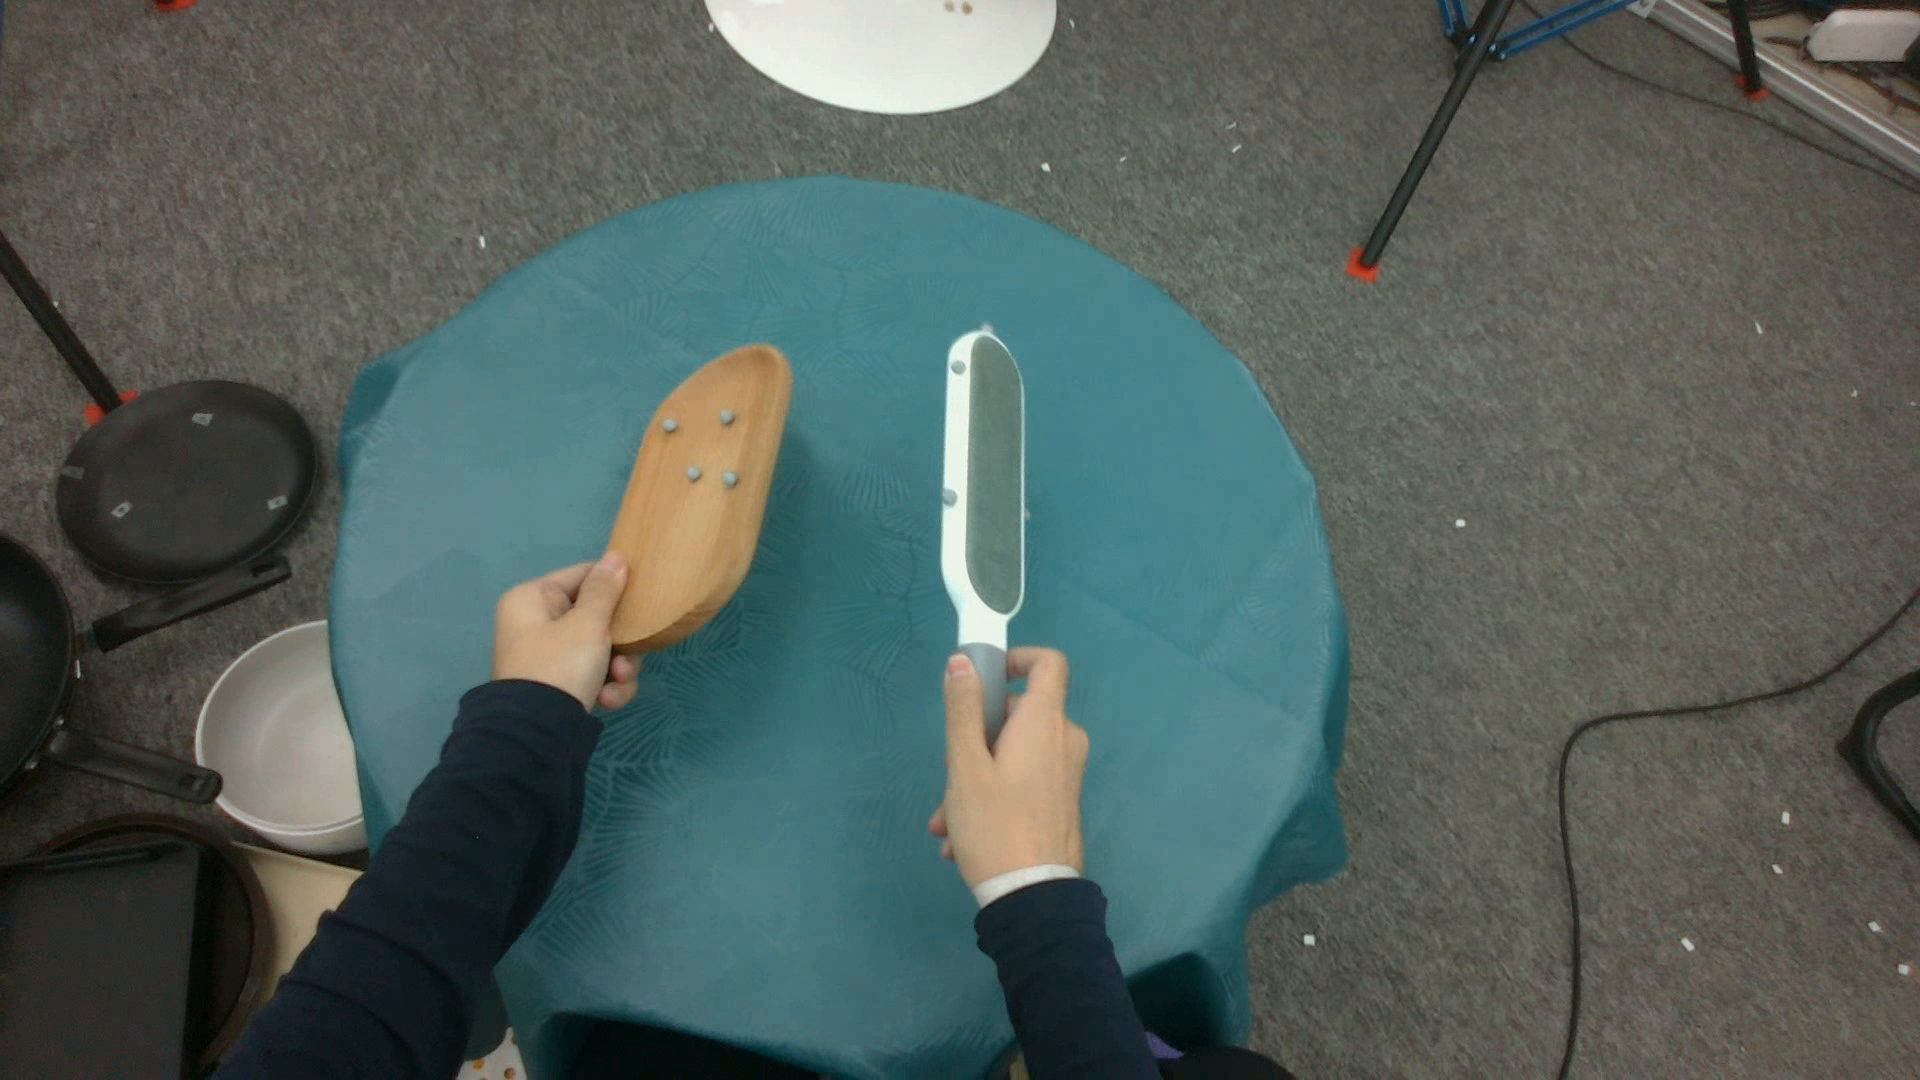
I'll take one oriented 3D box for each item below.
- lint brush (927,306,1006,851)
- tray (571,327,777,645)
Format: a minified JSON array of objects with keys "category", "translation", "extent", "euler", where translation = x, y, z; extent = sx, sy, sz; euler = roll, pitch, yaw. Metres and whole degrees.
[{"category":"lint brush","translation":[0.003,0.008,0.718],"extent":[0.021,0.060,0.310],"euler":[-16,59,29]},{"category":"tray","translation":[-0.152,-0.036,0.752],"extent":[0.101,0.020,0.232],"euler":[-22,41,24]}]
